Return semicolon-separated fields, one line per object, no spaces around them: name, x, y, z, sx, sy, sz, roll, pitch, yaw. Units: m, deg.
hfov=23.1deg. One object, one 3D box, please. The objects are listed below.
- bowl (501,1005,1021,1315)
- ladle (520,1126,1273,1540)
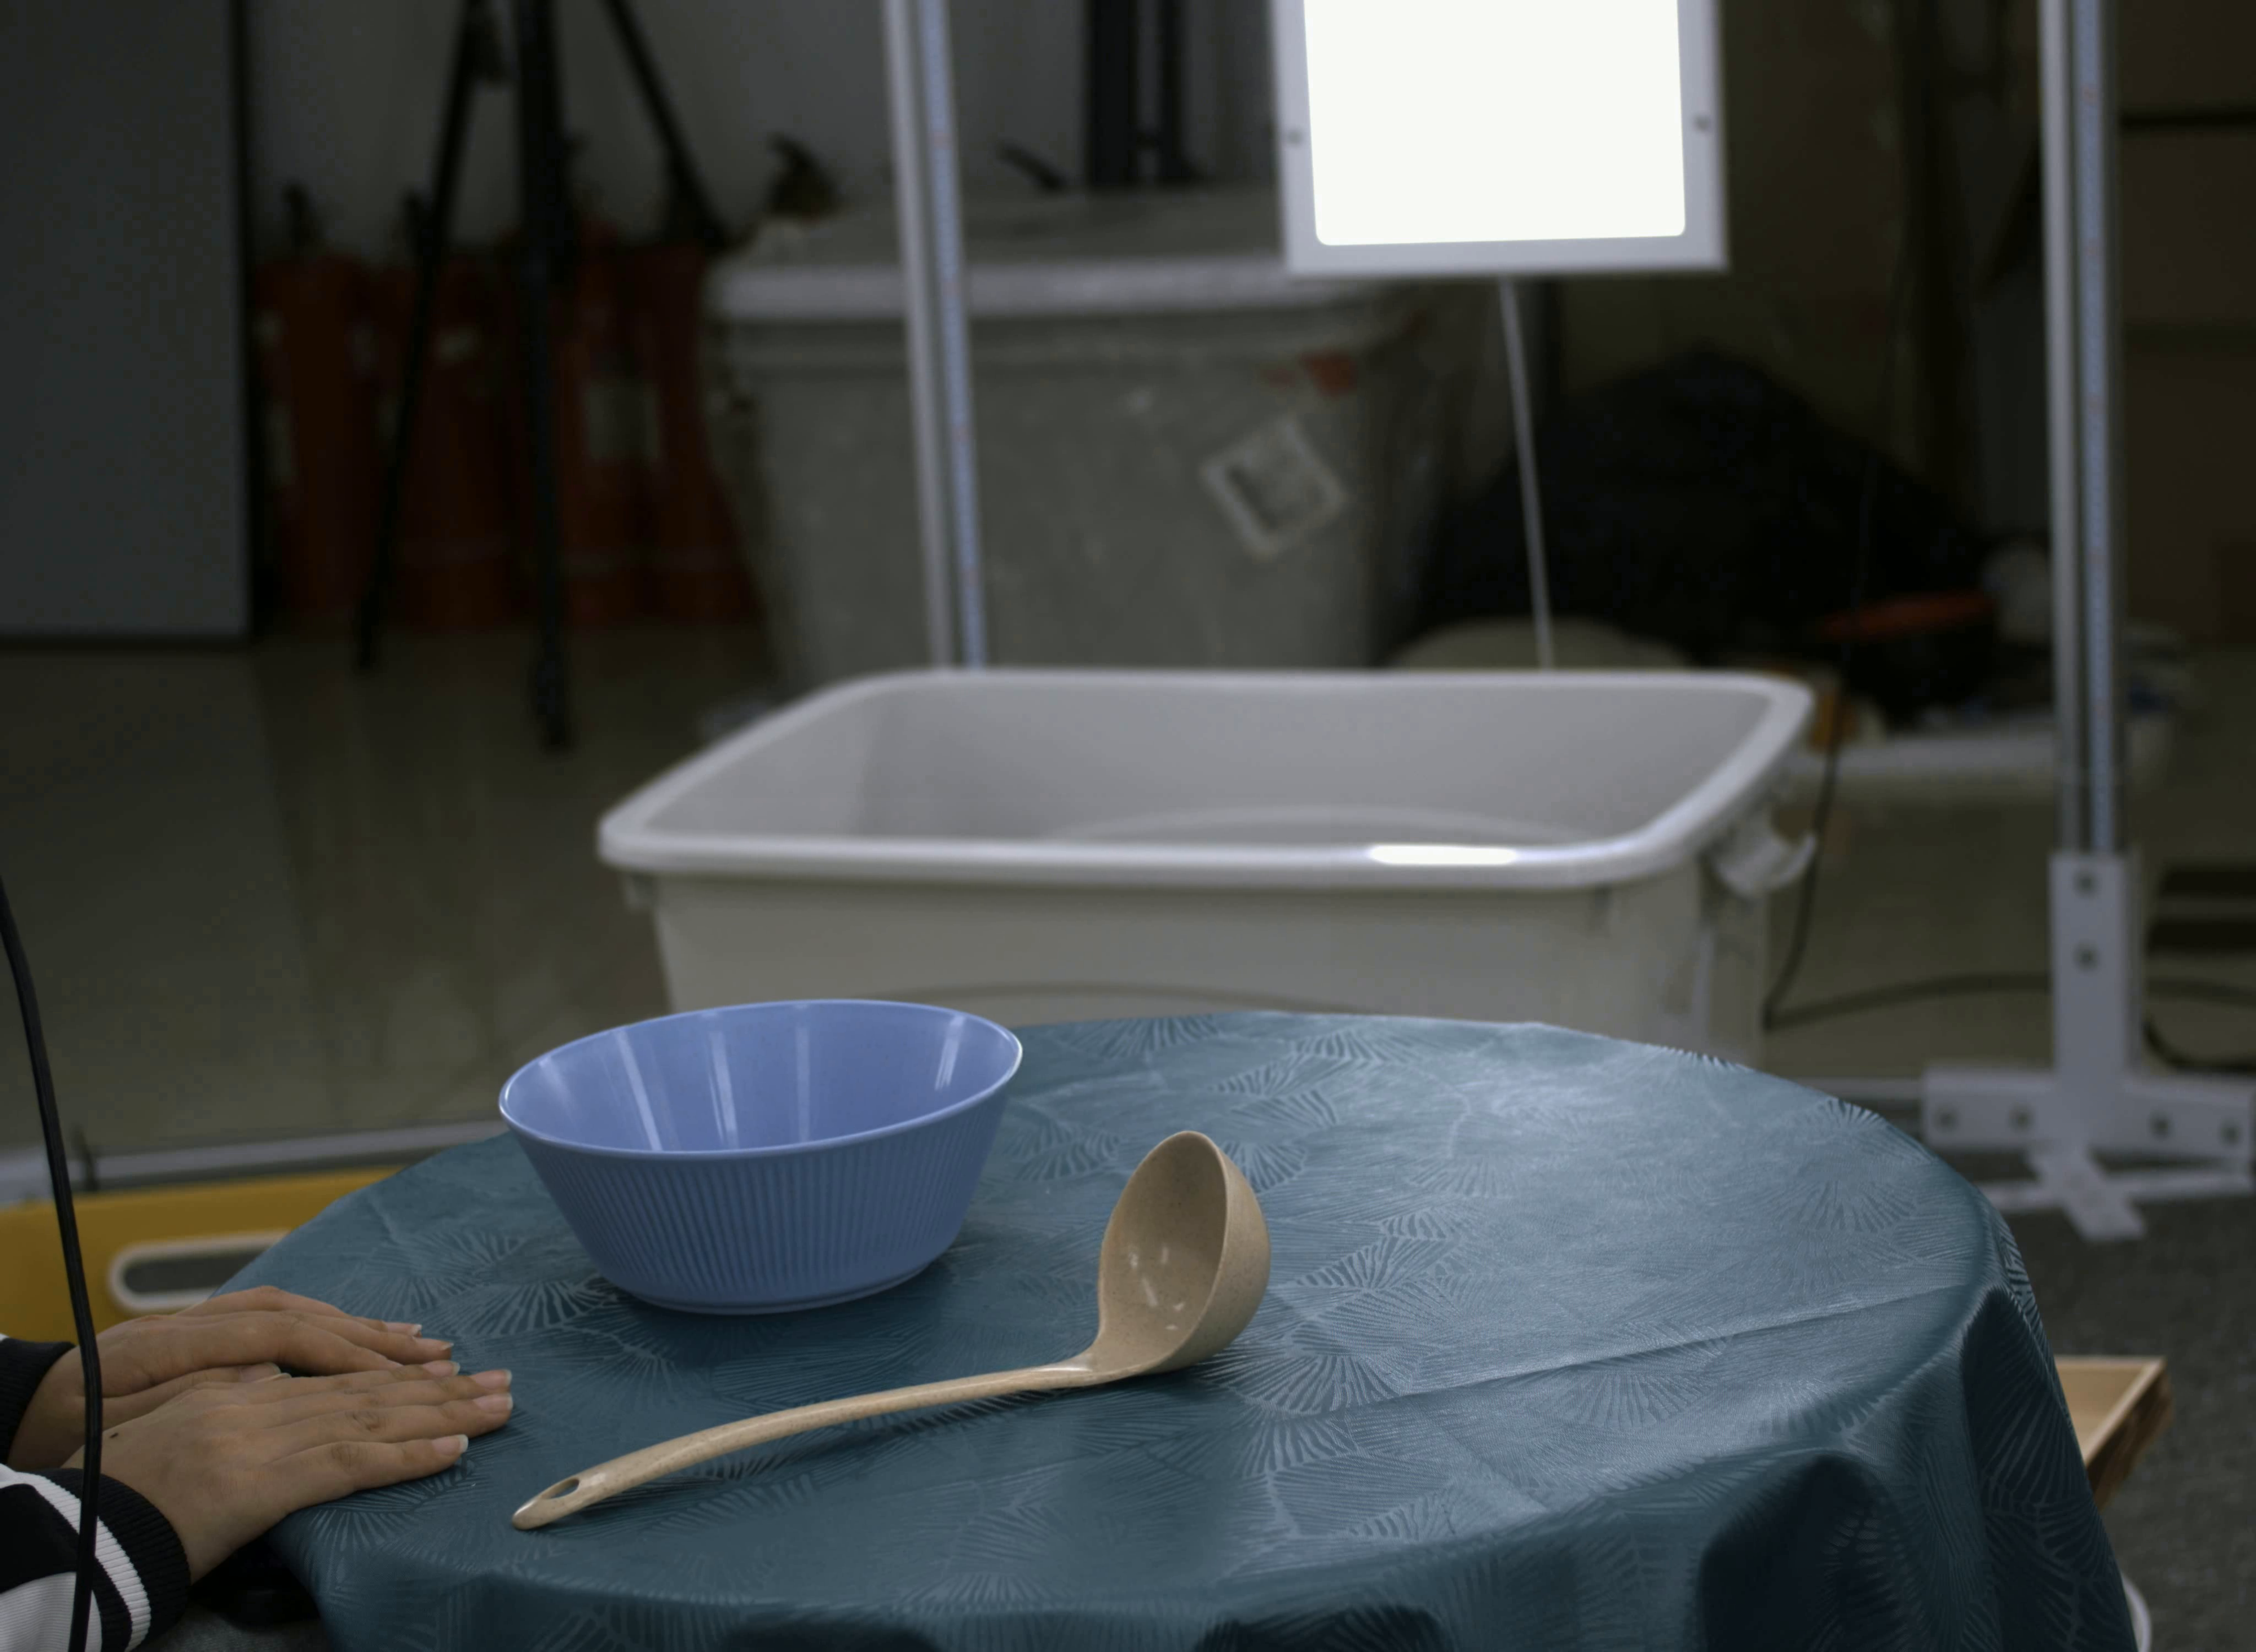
bowl;-0.120;0.114;1.846;0.175;0.070;0.176;-5;13;0
ladle;-0.072;0.151;1.673;0.249;0.073;0.073;-12;16;-27
